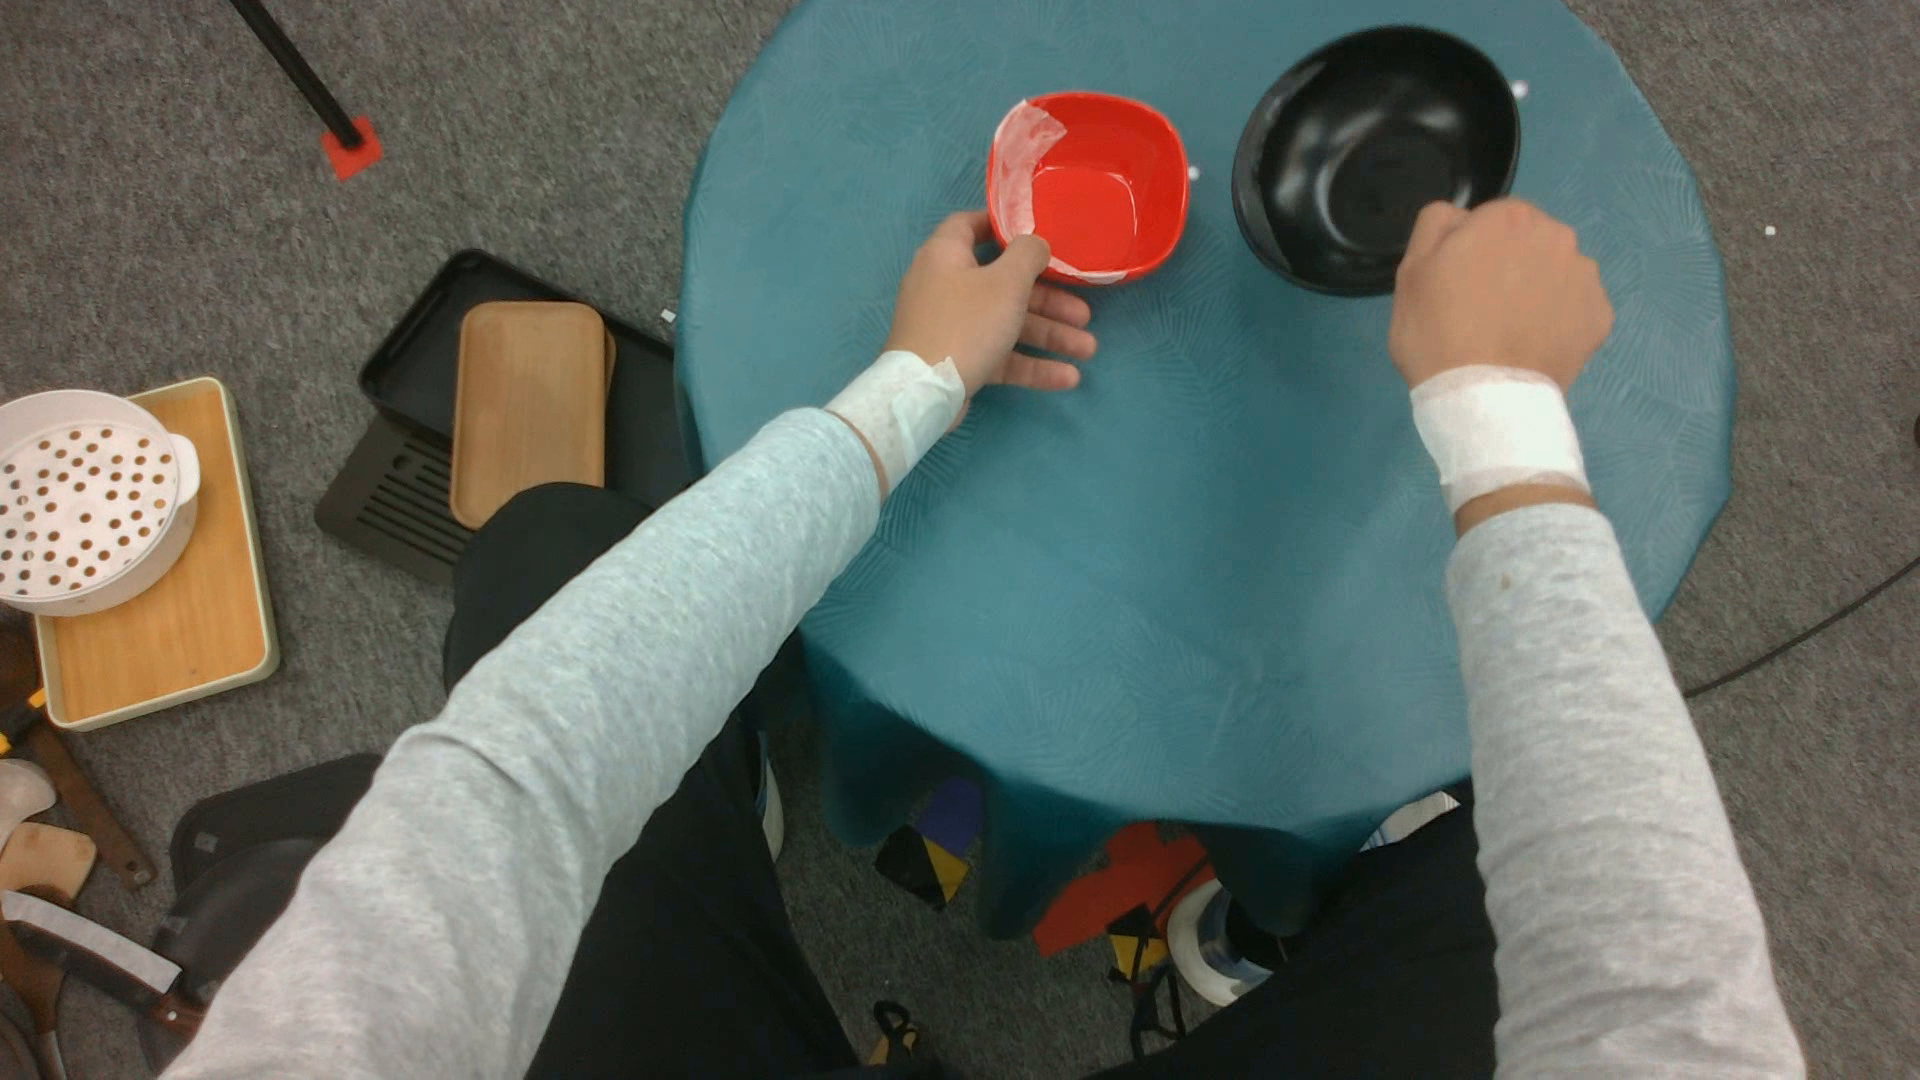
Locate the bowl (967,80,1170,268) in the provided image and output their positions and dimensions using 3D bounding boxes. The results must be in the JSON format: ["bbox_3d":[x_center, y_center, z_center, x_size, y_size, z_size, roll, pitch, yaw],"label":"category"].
[{"bbox_3d":[0.057,-0.194,0.764,0.119,0.051,0.119,1,71,-4],"label":"bowl"}]

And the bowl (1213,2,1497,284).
[{"bbox_3d":[0.201,-0.192,0.692,0.139,0.050,0.140,-3,83,31],"label":"bowl"}]
